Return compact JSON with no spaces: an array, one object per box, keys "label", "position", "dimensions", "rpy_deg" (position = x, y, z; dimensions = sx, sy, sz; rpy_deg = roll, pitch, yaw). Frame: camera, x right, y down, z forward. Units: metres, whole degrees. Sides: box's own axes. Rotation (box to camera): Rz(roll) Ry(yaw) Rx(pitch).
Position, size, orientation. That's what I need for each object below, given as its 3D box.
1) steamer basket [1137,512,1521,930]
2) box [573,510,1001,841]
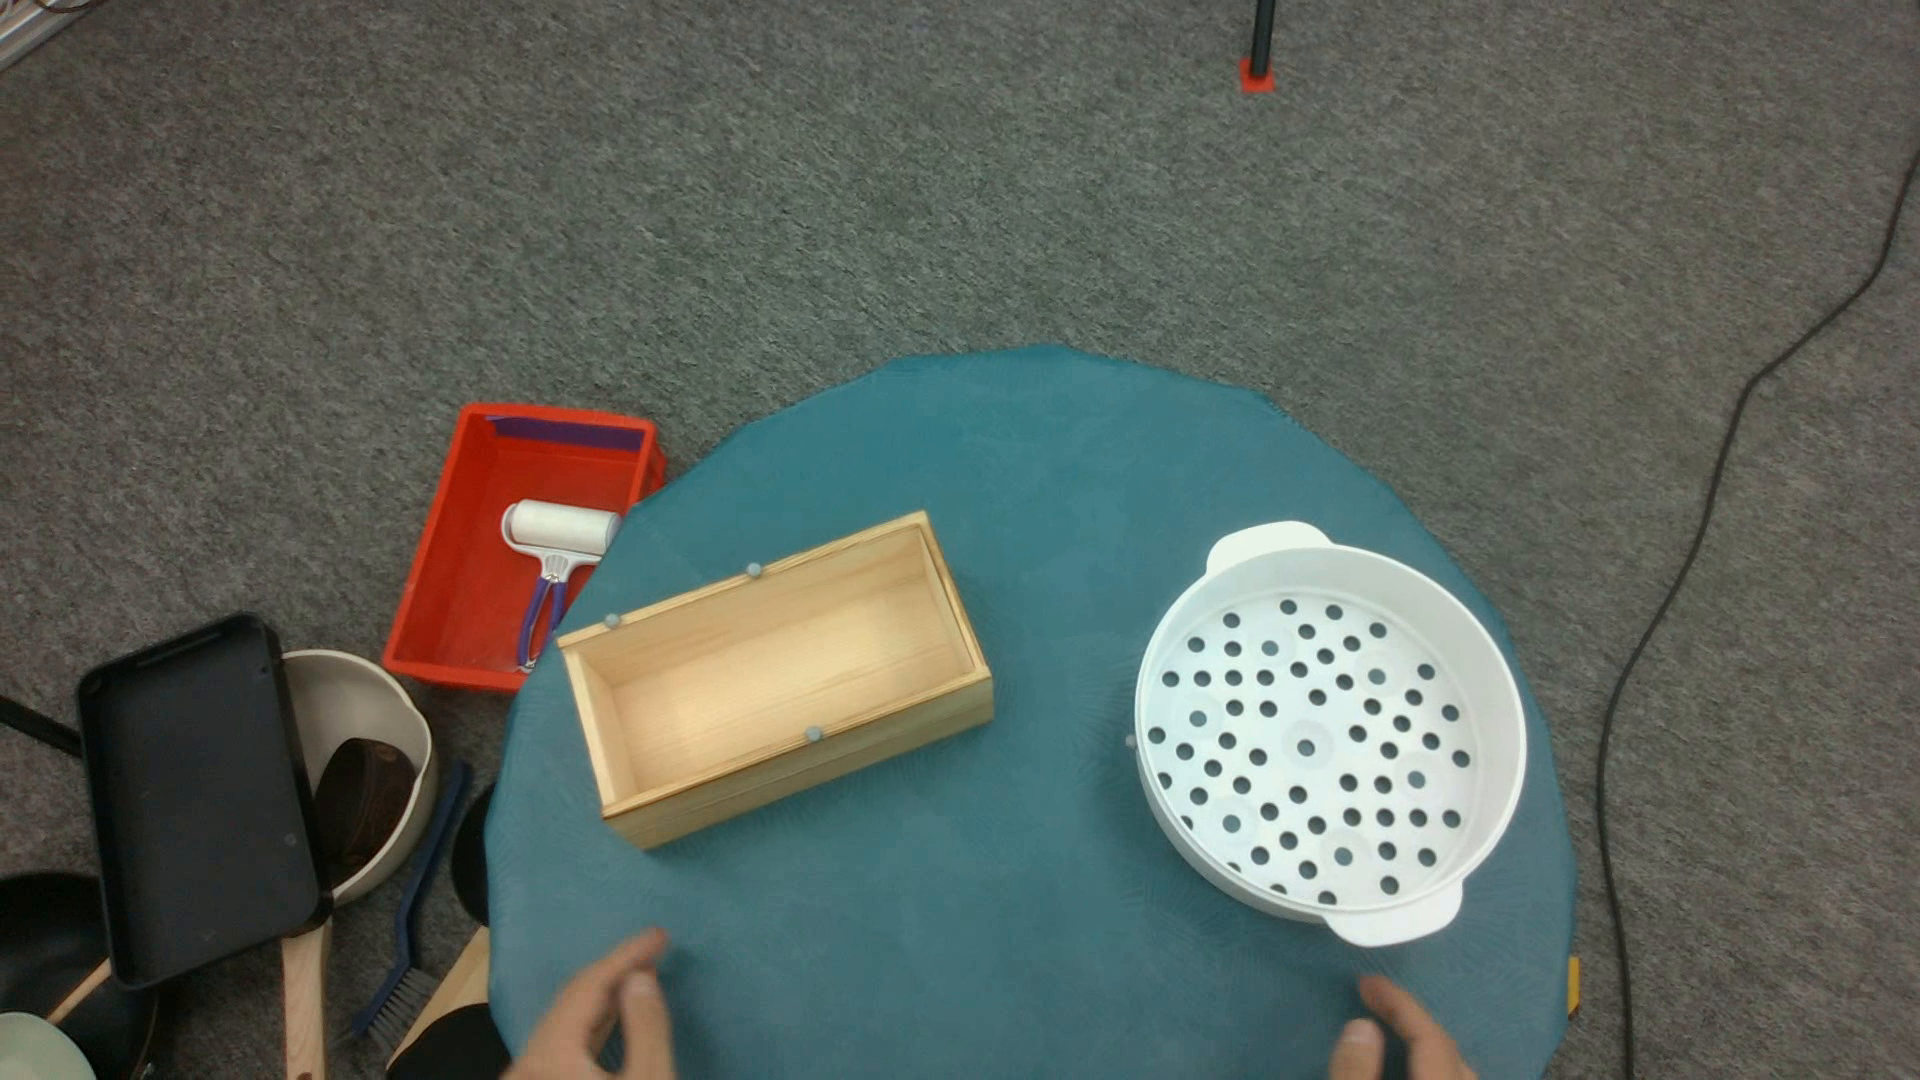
[{"label":"steamer basket","position":[0.198,0.100,0.761],"dimensions":[0.202,0.069,0.231],"rpy_deg":[-13,67,-2]},{"label":"box","position":[-0.094,0.078,0.778],"dimensions":[0.211,0.080,0.108],"rpy_deg":[-20,67,-6]}]
